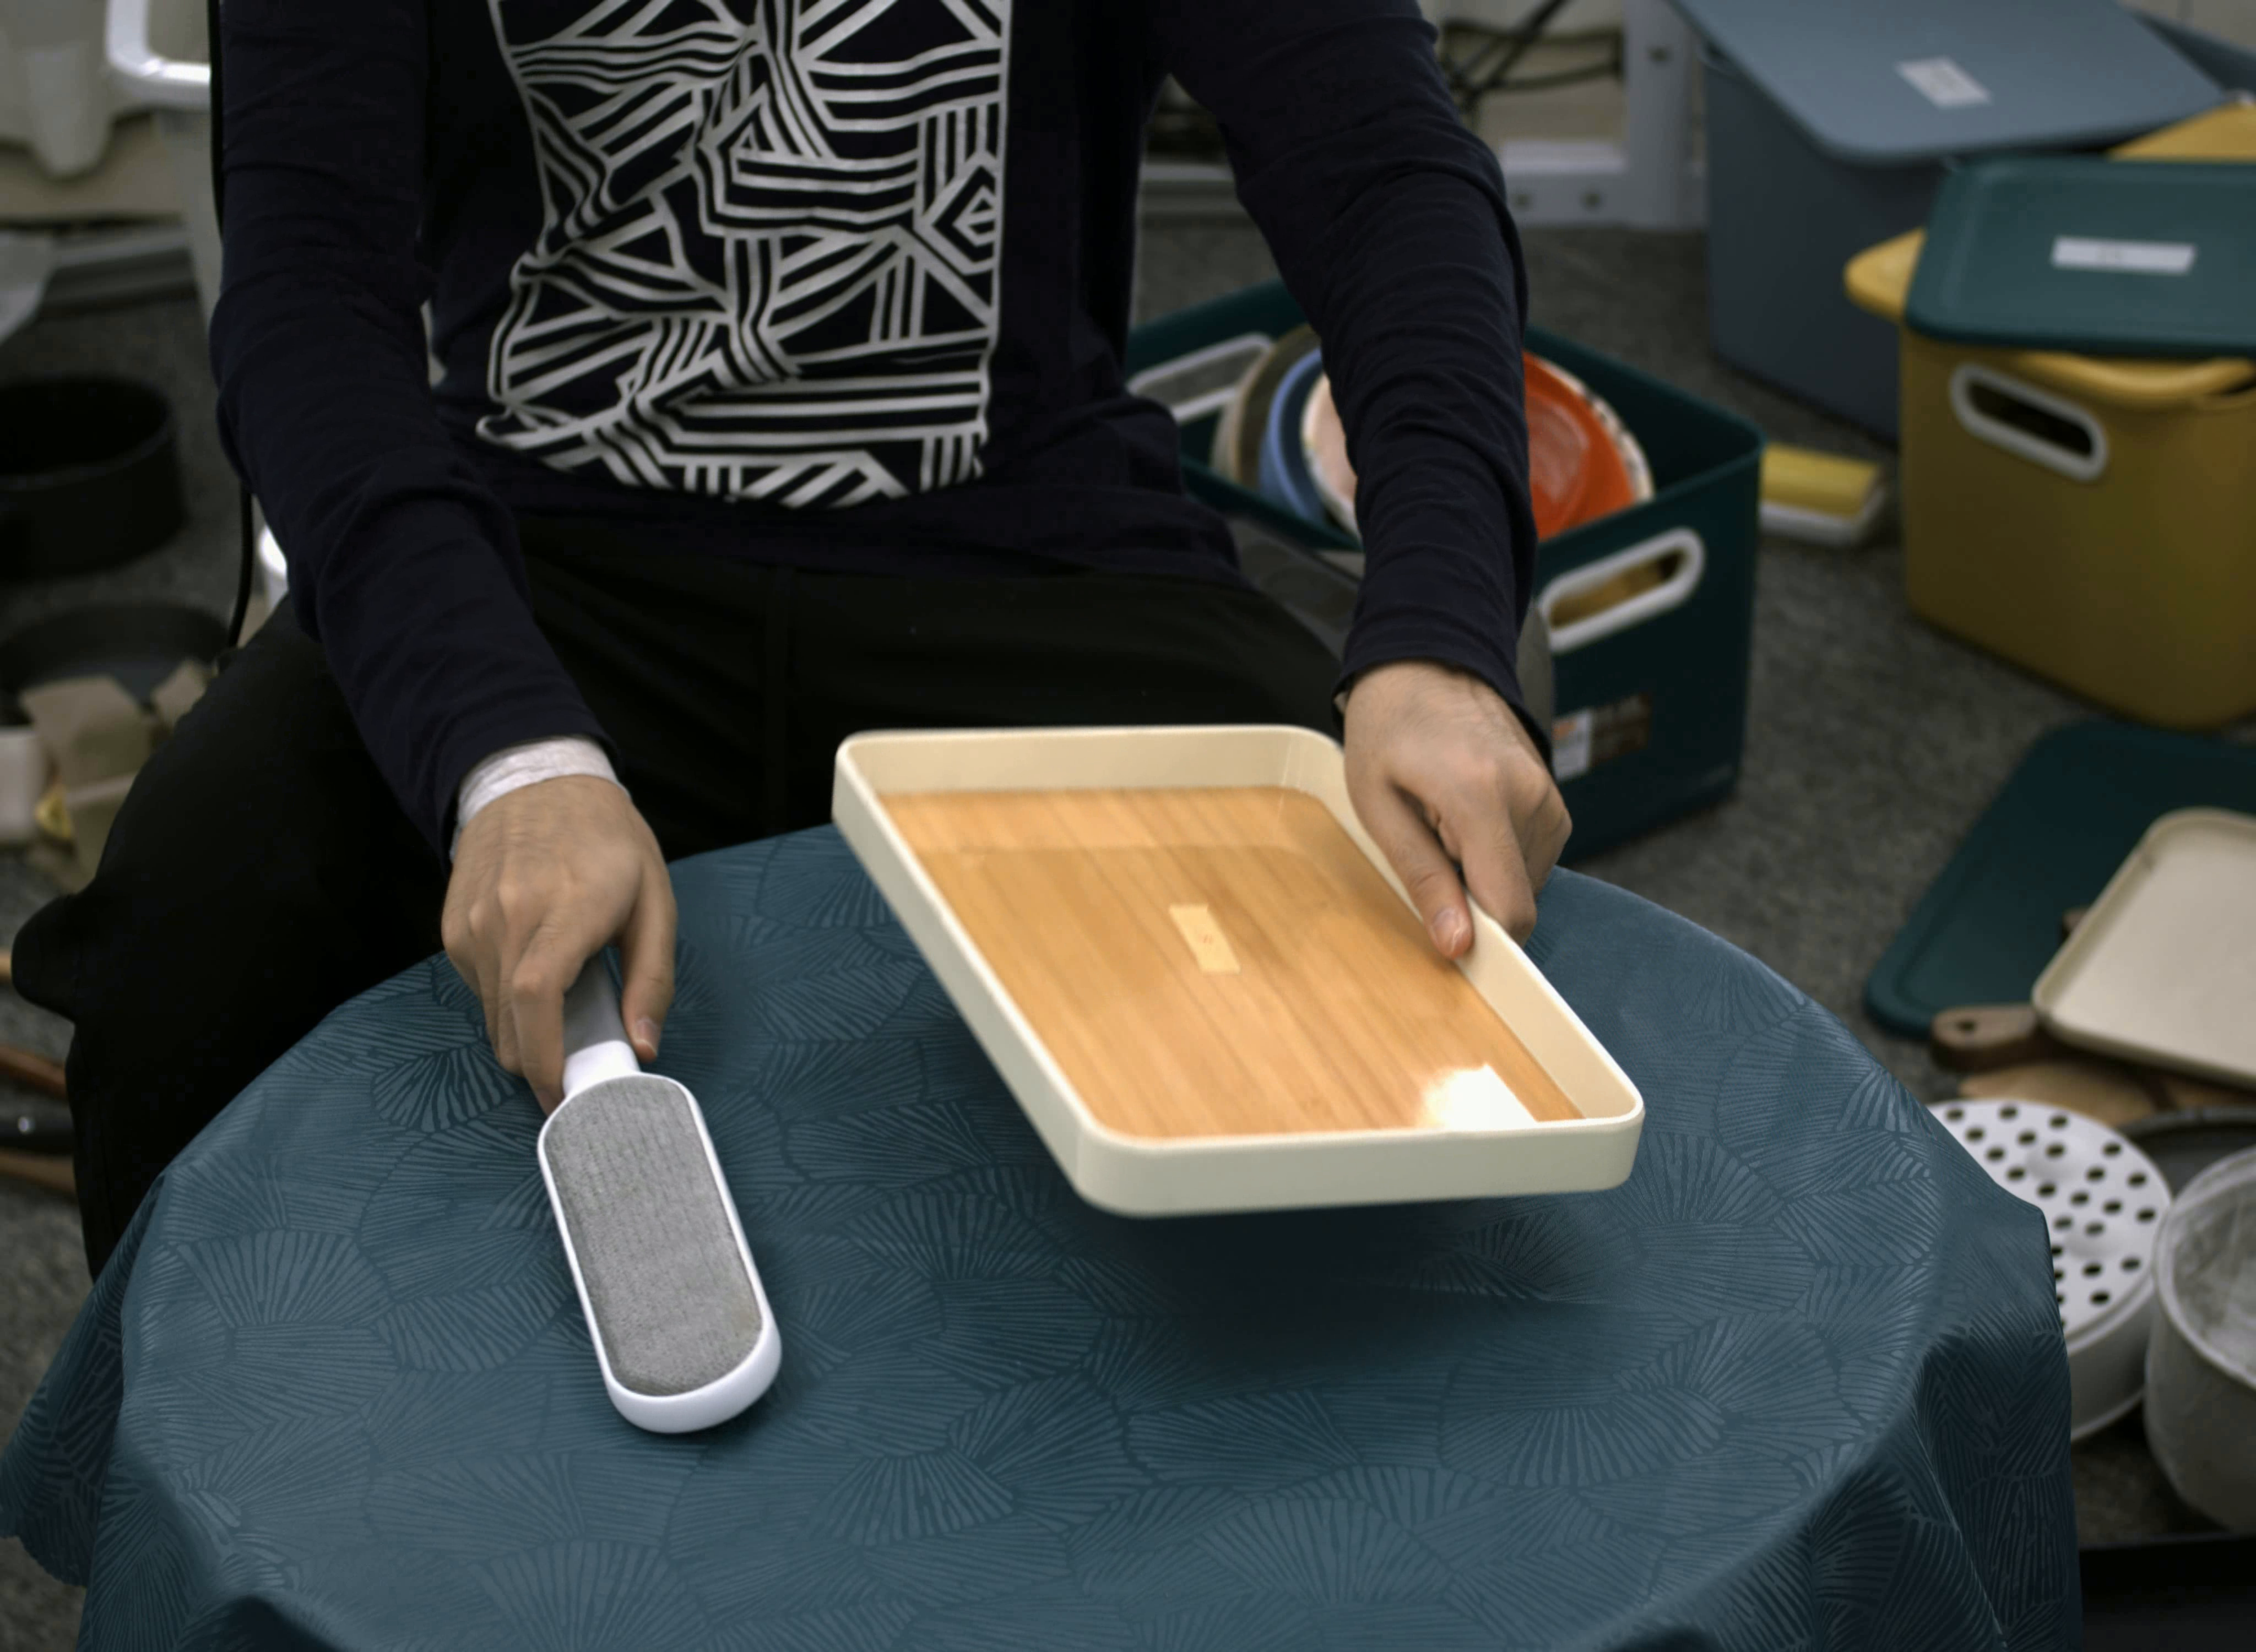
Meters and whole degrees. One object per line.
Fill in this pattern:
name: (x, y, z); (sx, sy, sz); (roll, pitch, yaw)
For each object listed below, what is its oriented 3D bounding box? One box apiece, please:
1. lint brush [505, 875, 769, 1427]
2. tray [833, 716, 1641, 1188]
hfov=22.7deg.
lint brush: (-0.170, 0.101, 1.860); (0.060, 0.021, 0.313); (-25, 34, -1)
tray: (0.029, 0.038, 1.860); (0.191, 0.027, 0.303); (1, 24, -21)
